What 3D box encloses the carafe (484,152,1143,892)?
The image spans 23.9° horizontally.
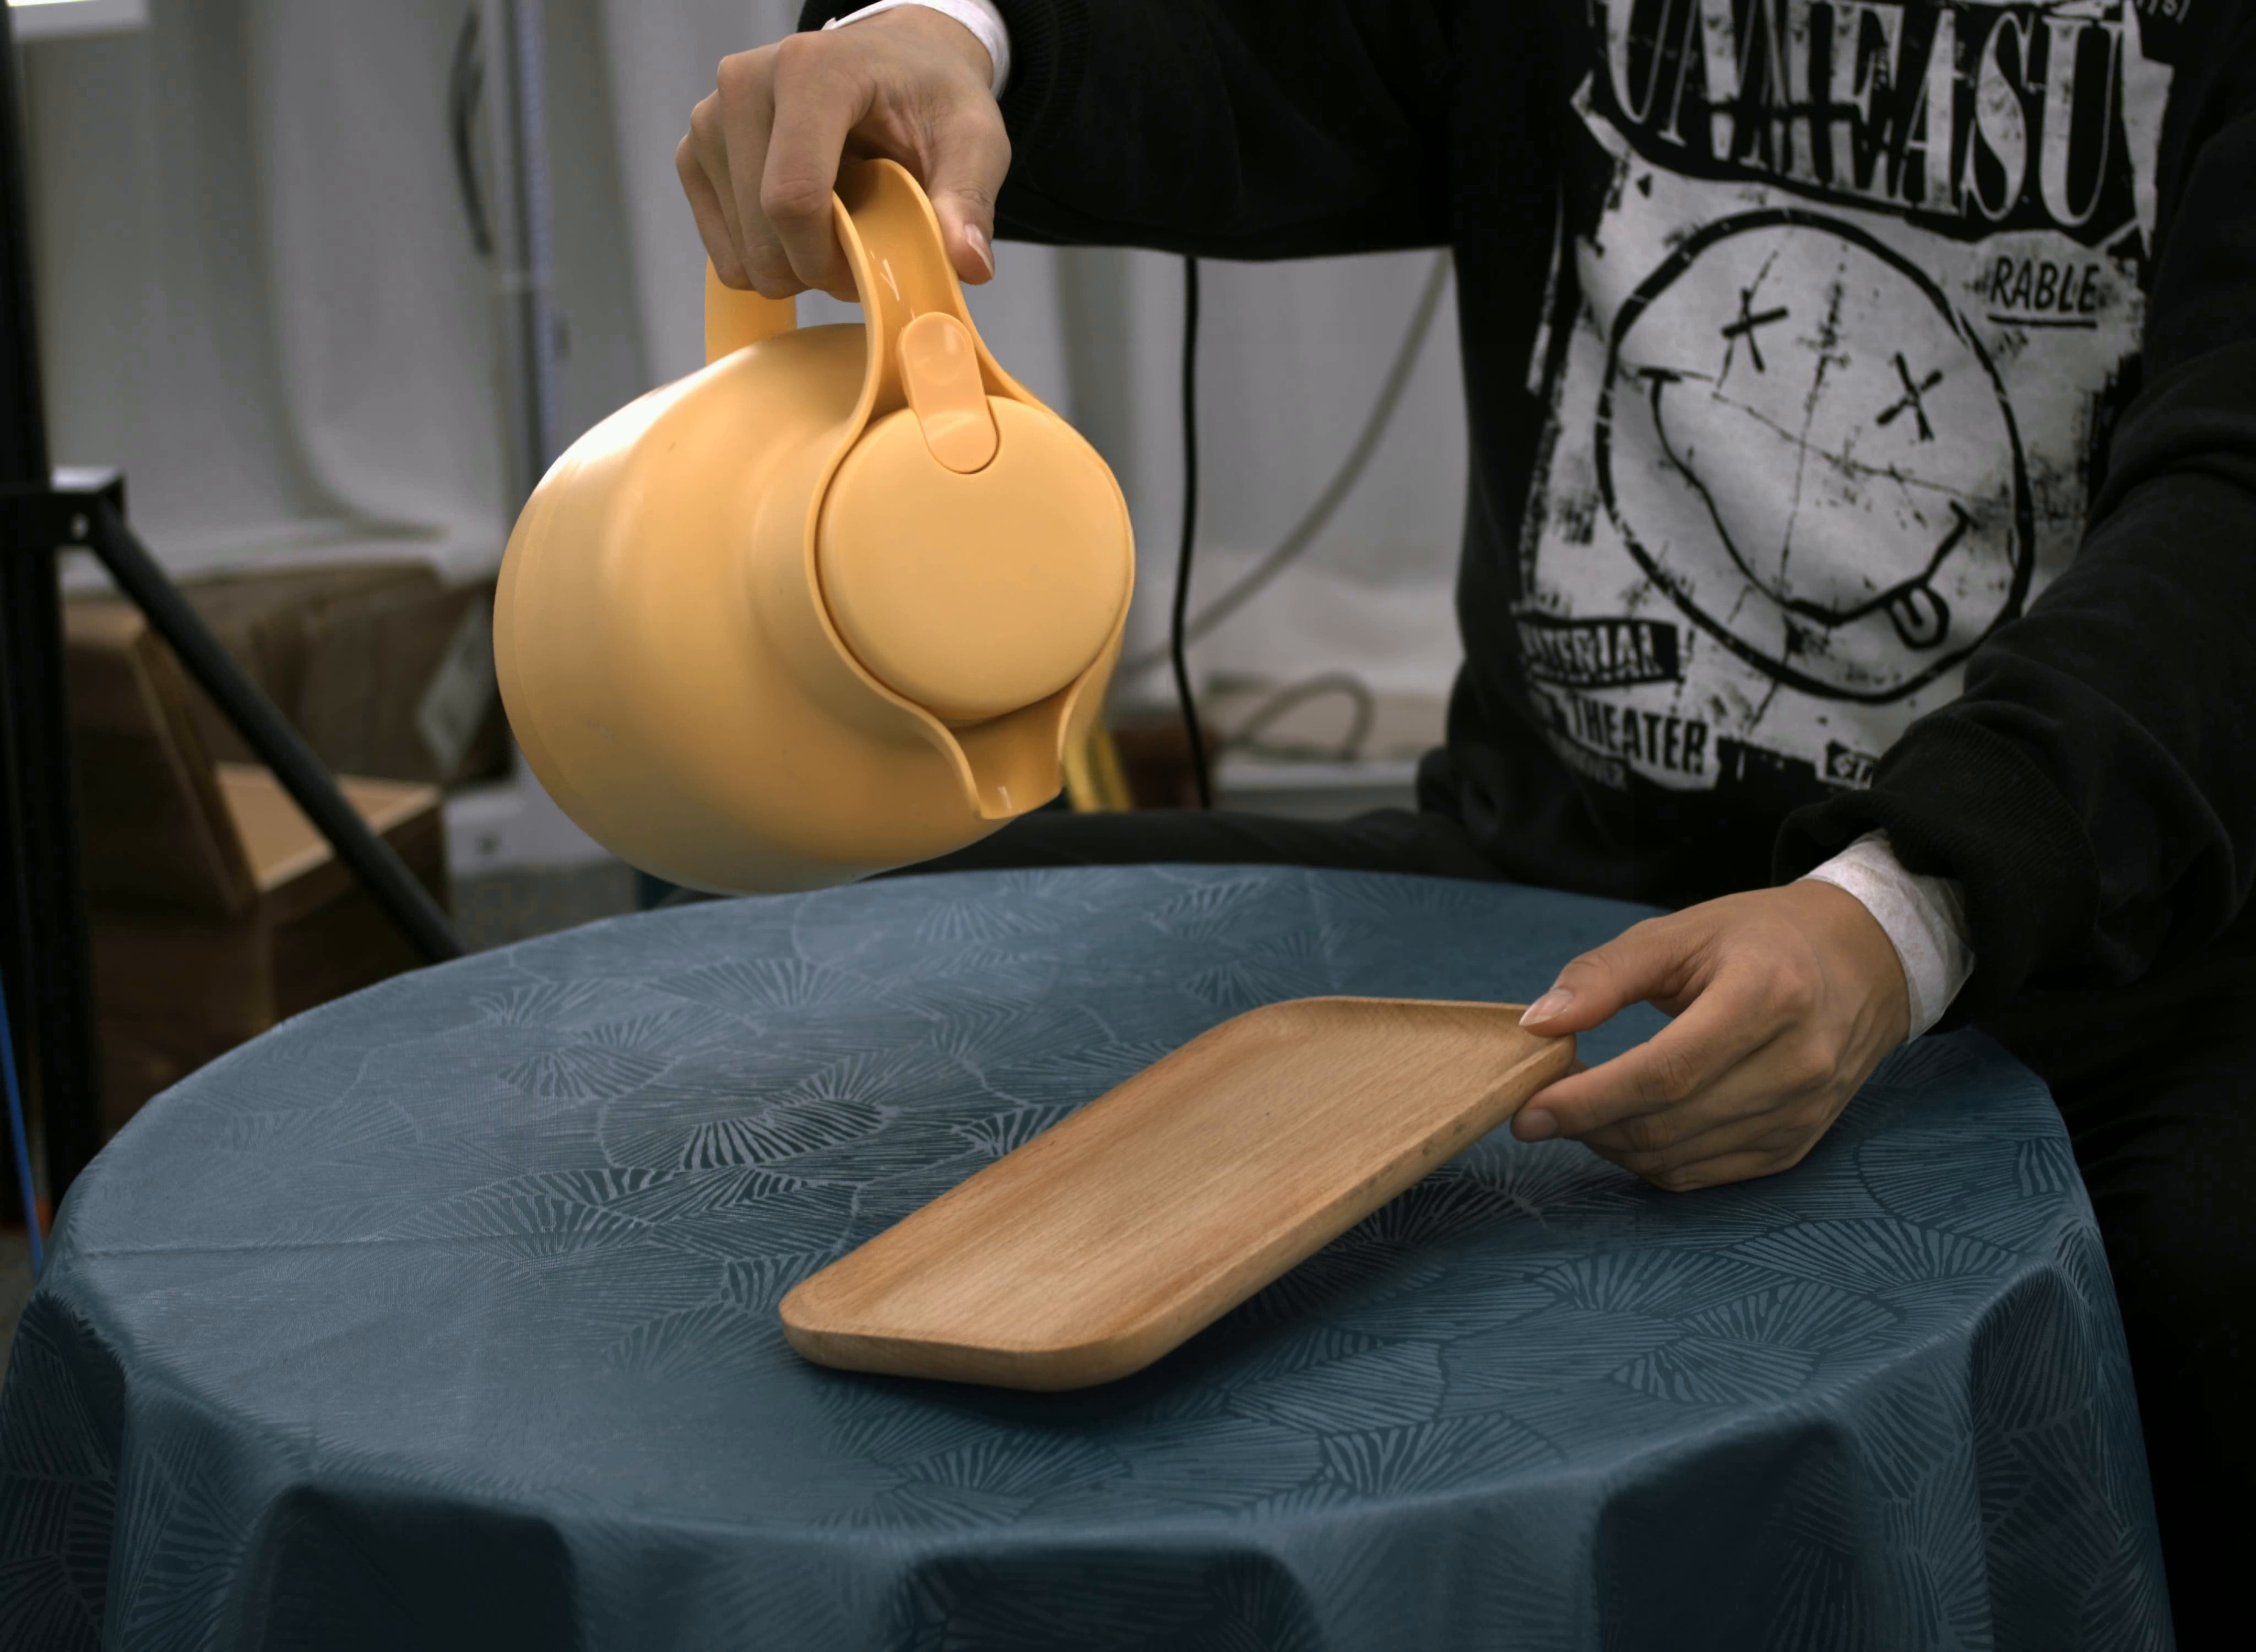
[{"bbox_3d":[-0.086,-0.087,1.568,0.160,0.203,0.264,-8,-1,-23],"label":"carafe"}]

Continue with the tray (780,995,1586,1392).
[{"bbox_3d":[0.020,0.100,1.485,0.133,0.023,0.246,5,22,40],"label":"tray"}]
